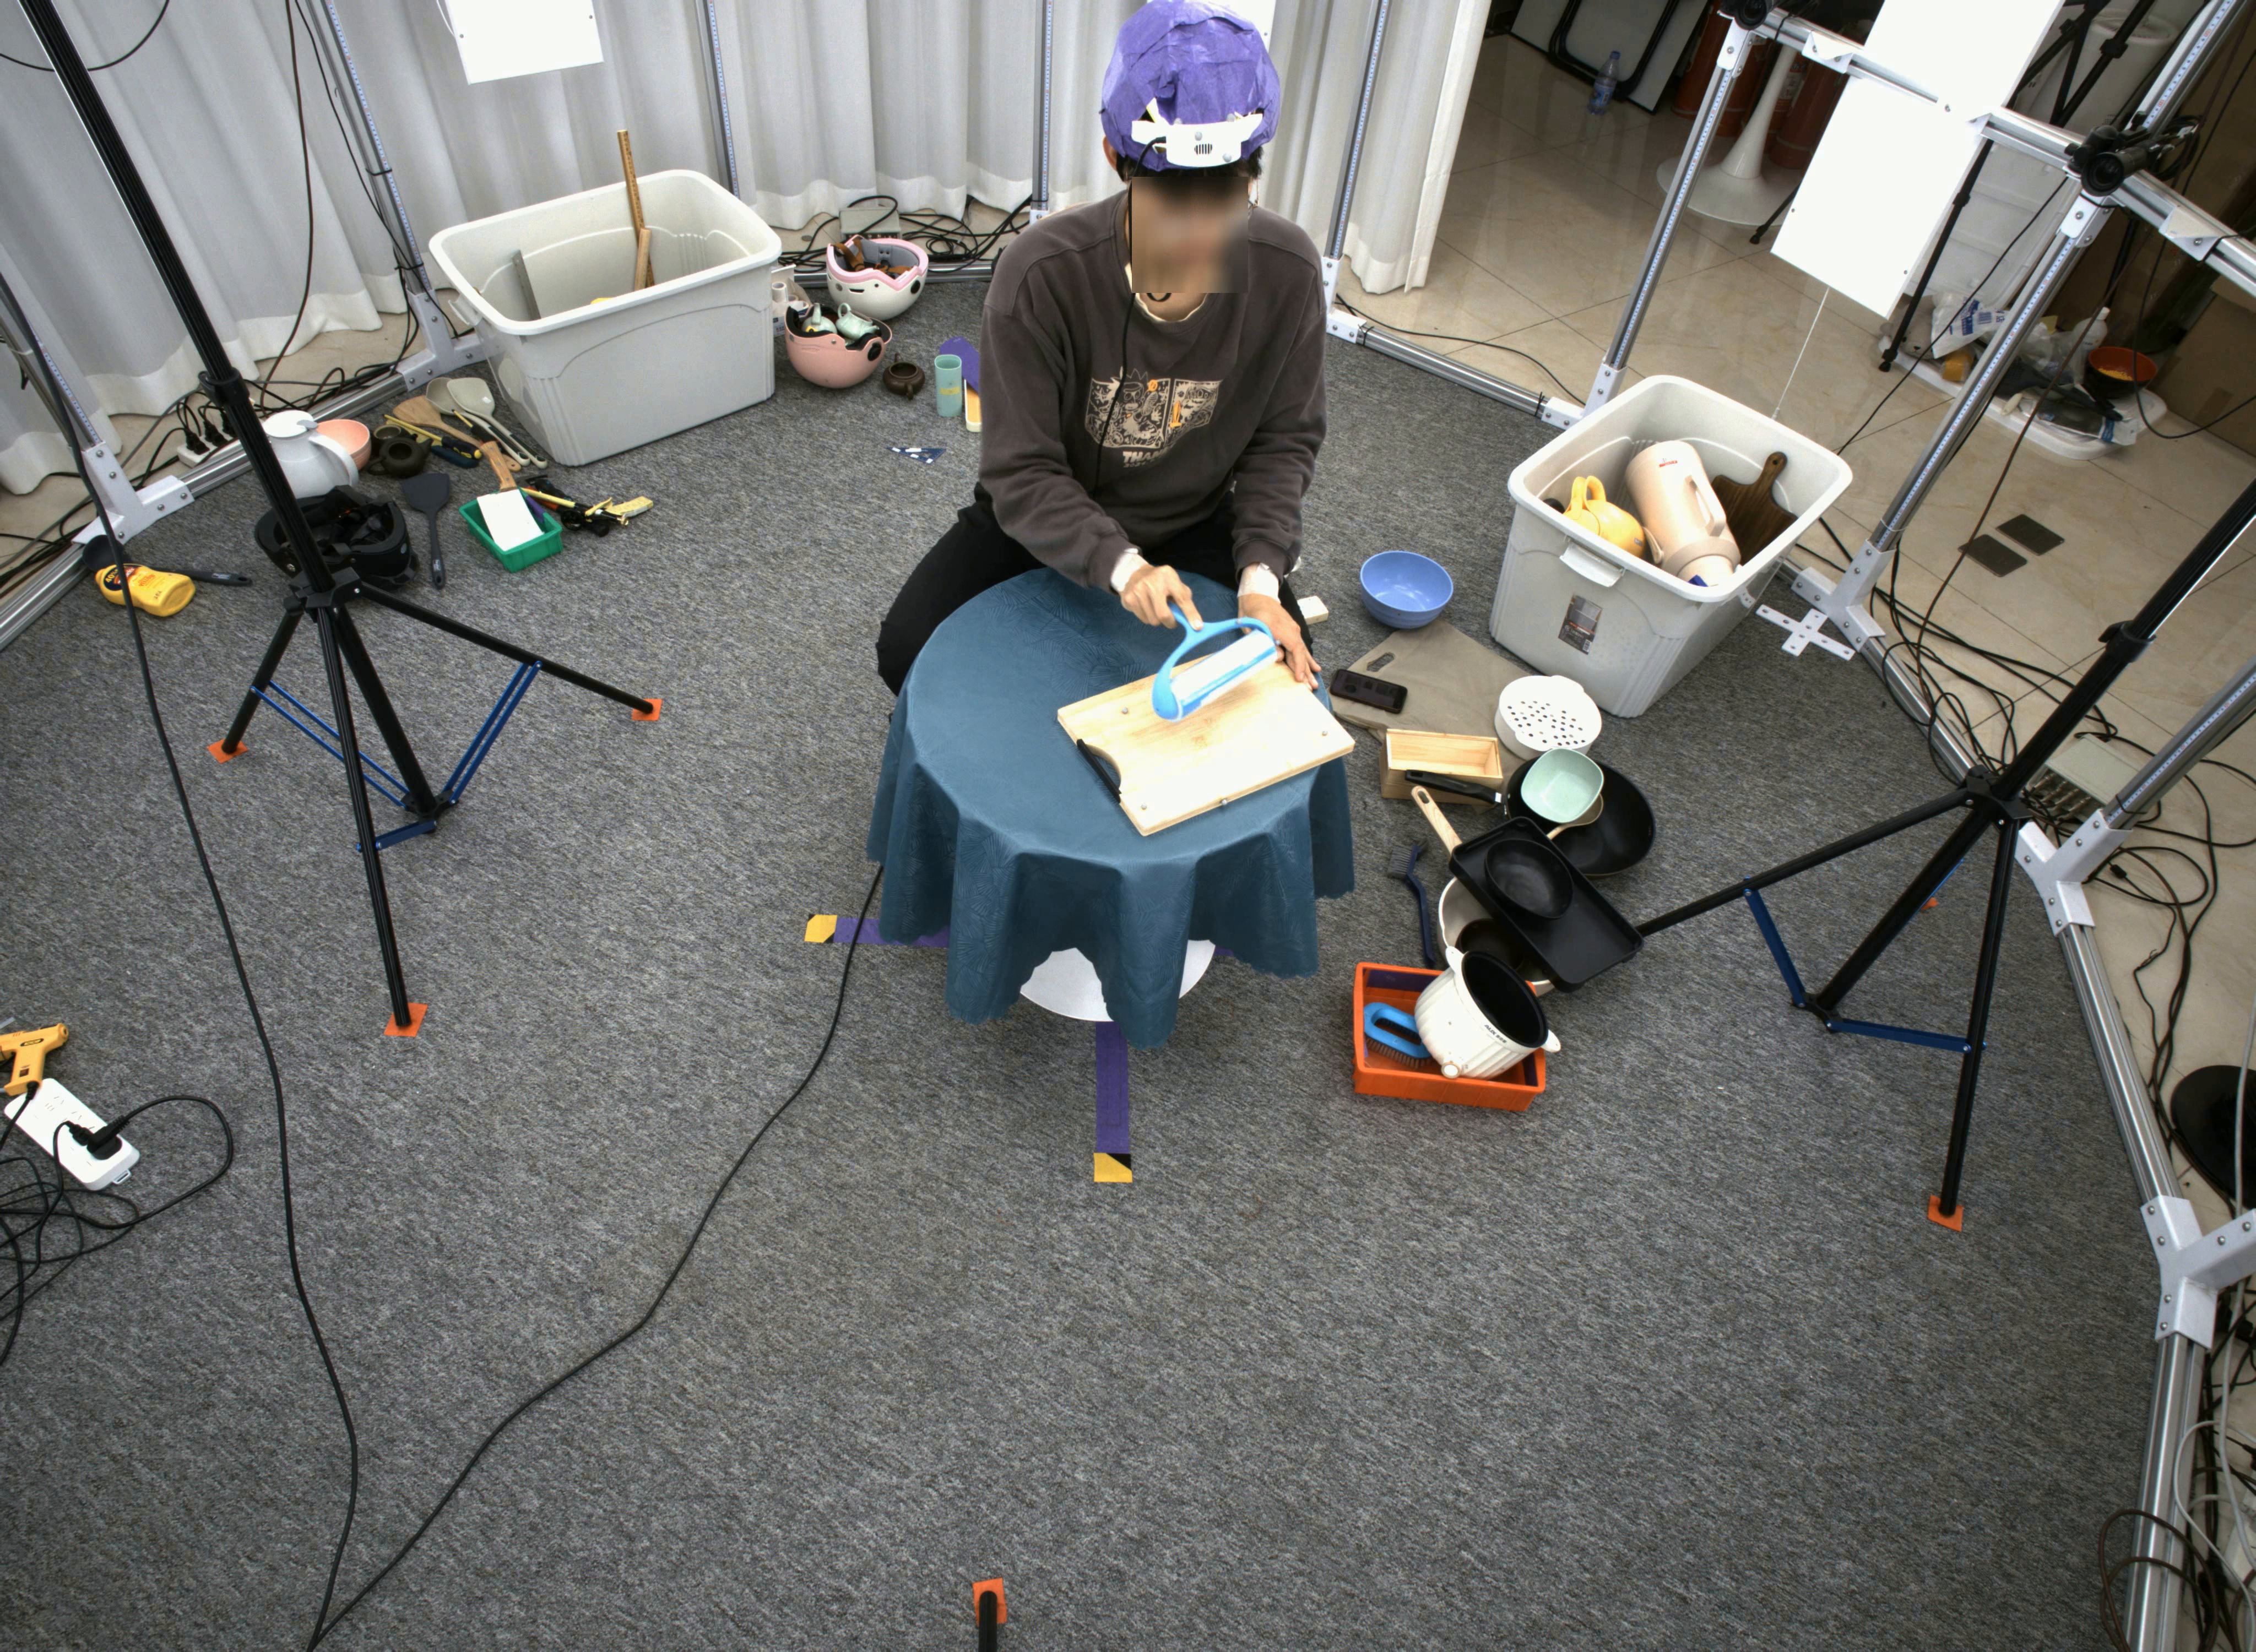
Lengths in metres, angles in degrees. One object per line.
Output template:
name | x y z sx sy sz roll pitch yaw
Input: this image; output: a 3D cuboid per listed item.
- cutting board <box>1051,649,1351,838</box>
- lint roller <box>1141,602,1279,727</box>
cutting board | 0.102 -0.130 1.775 0.350 0.023 0.256 -22 53 -21
lint roller | 0.086 -0.246 1.744 0.231 0.067 0.181 -37 83 -33
